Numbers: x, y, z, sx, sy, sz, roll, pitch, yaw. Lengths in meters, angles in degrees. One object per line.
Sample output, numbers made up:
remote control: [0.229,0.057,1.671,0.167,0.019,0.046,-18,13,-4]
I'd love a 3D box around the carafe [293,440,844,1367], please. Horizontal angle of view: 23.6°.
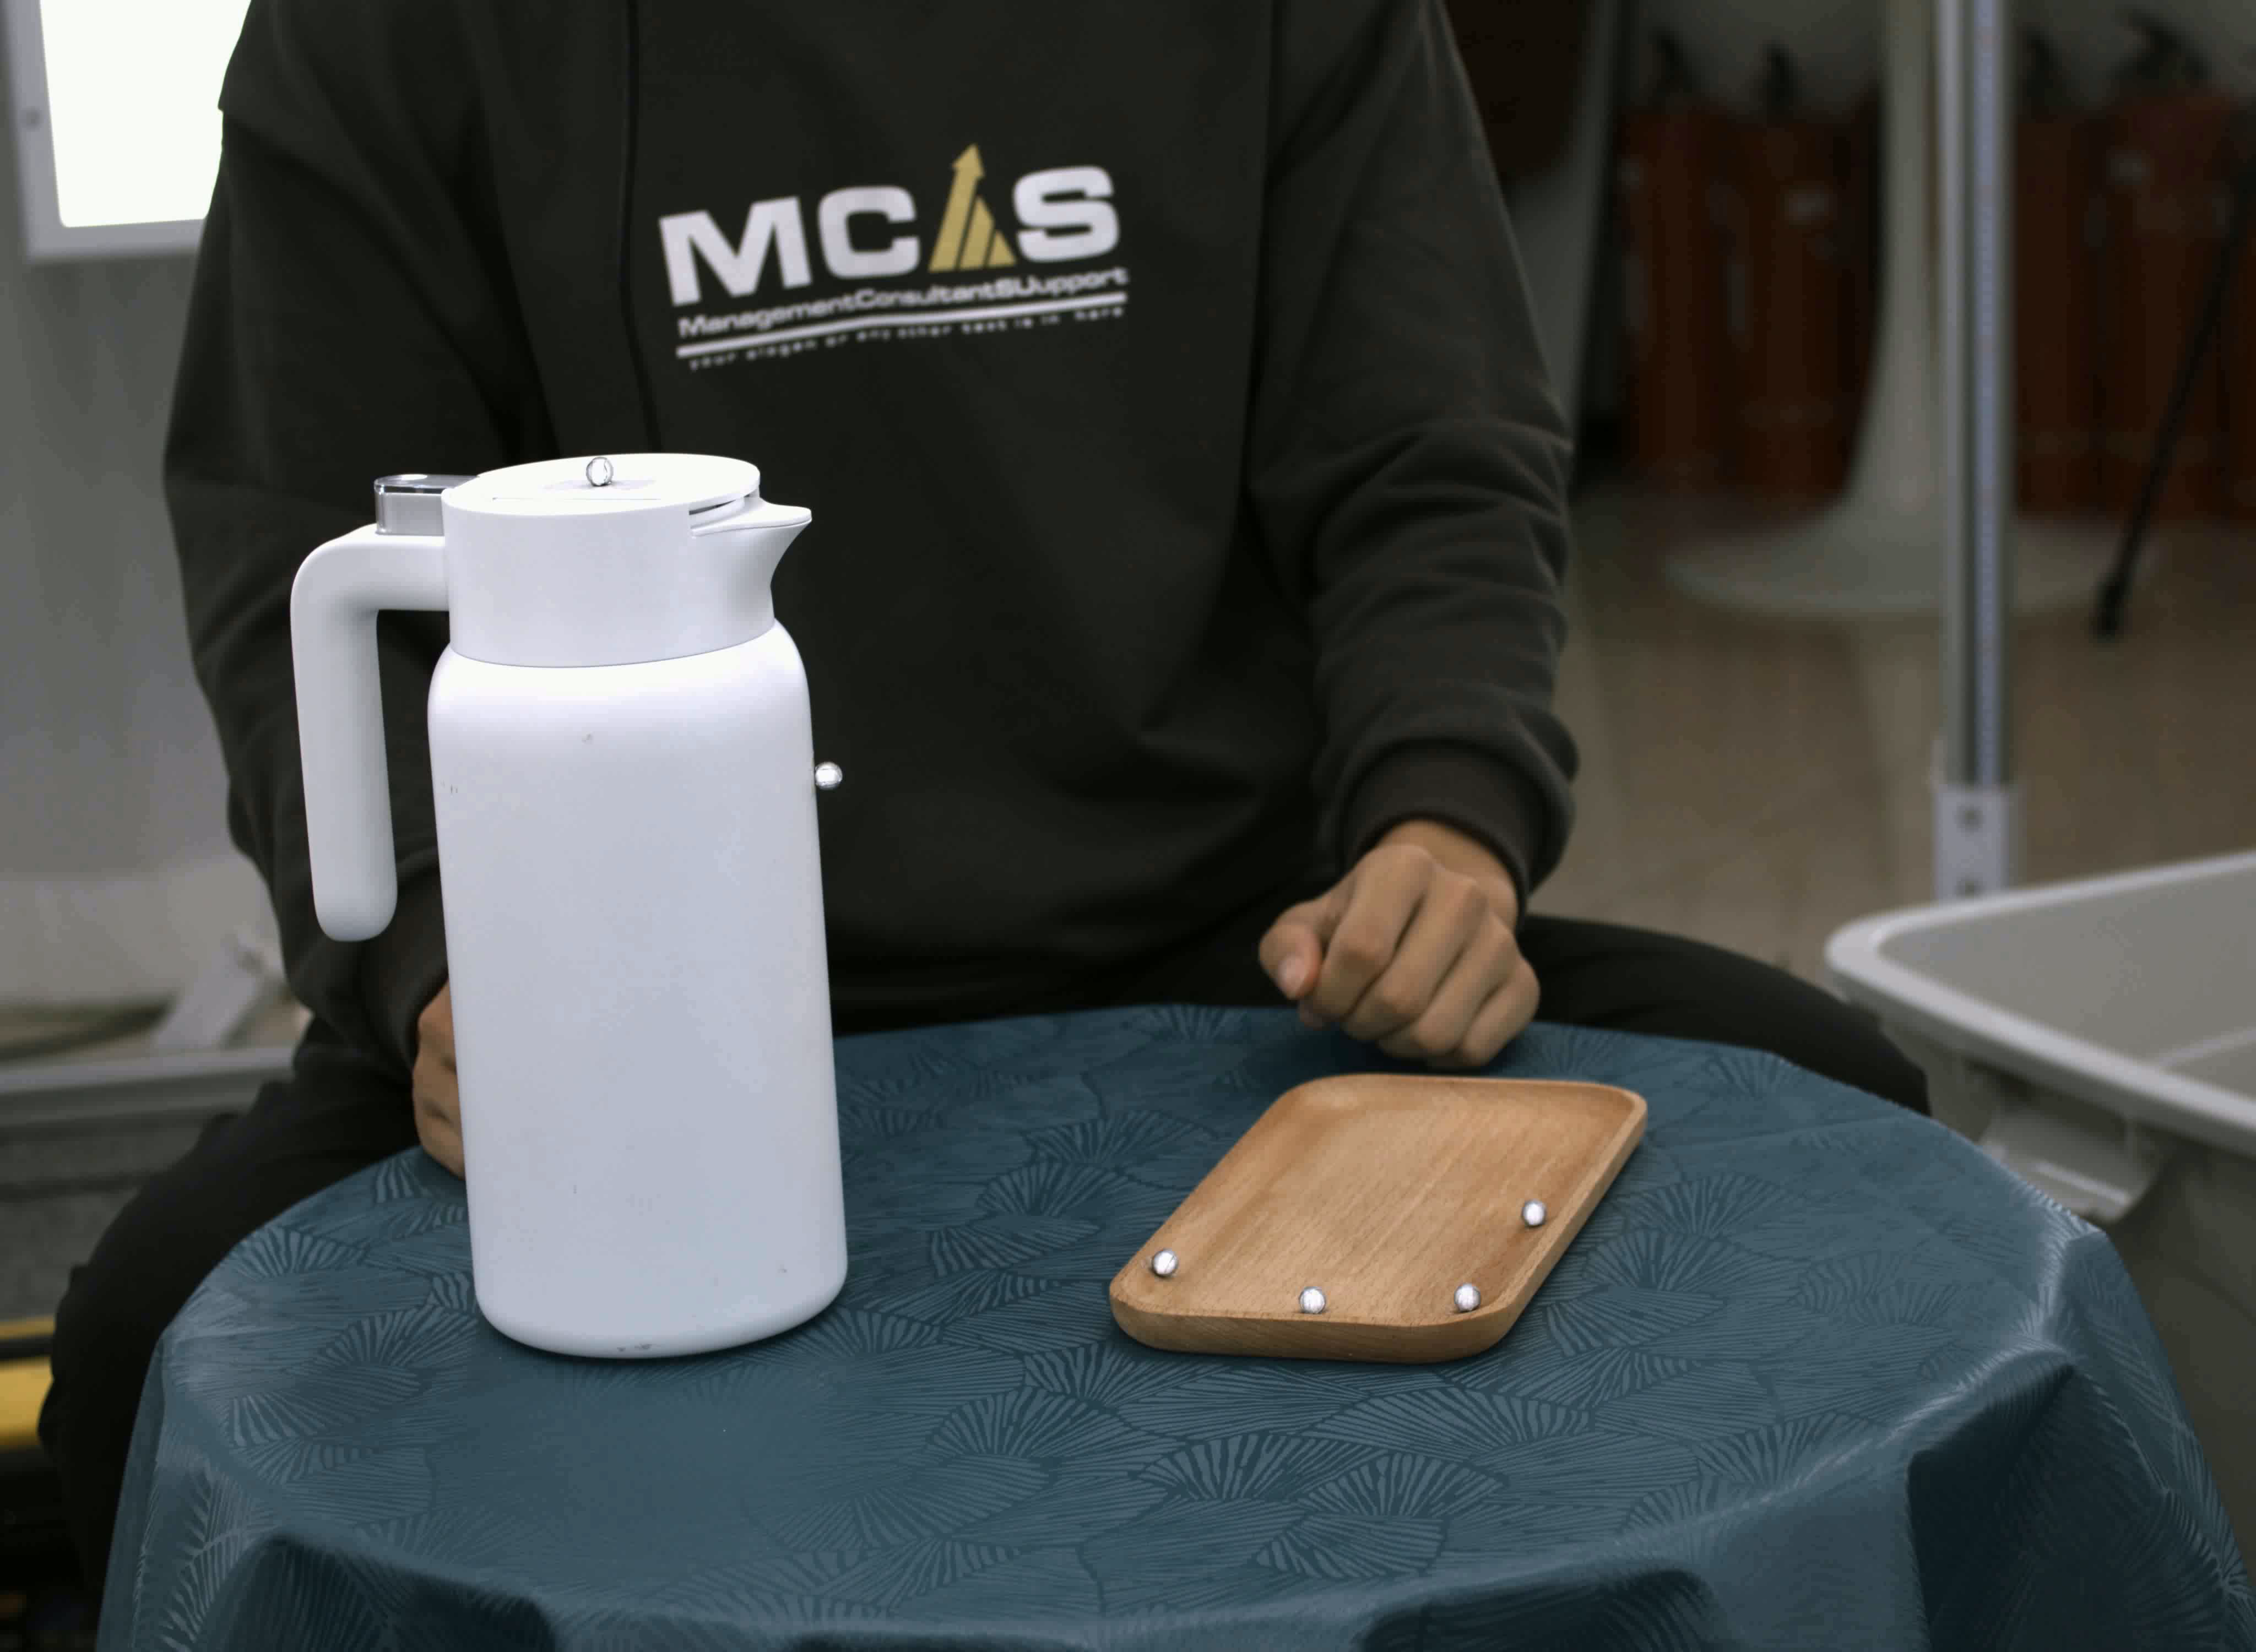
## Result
carafe: [-0.168,0.023,1.663,0.172,0.272,0.123,1,15,19]

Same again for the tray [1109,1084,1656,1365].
tray: [0.085,0.124,1.711,0.130,0.023,0.248,3,14,19]
